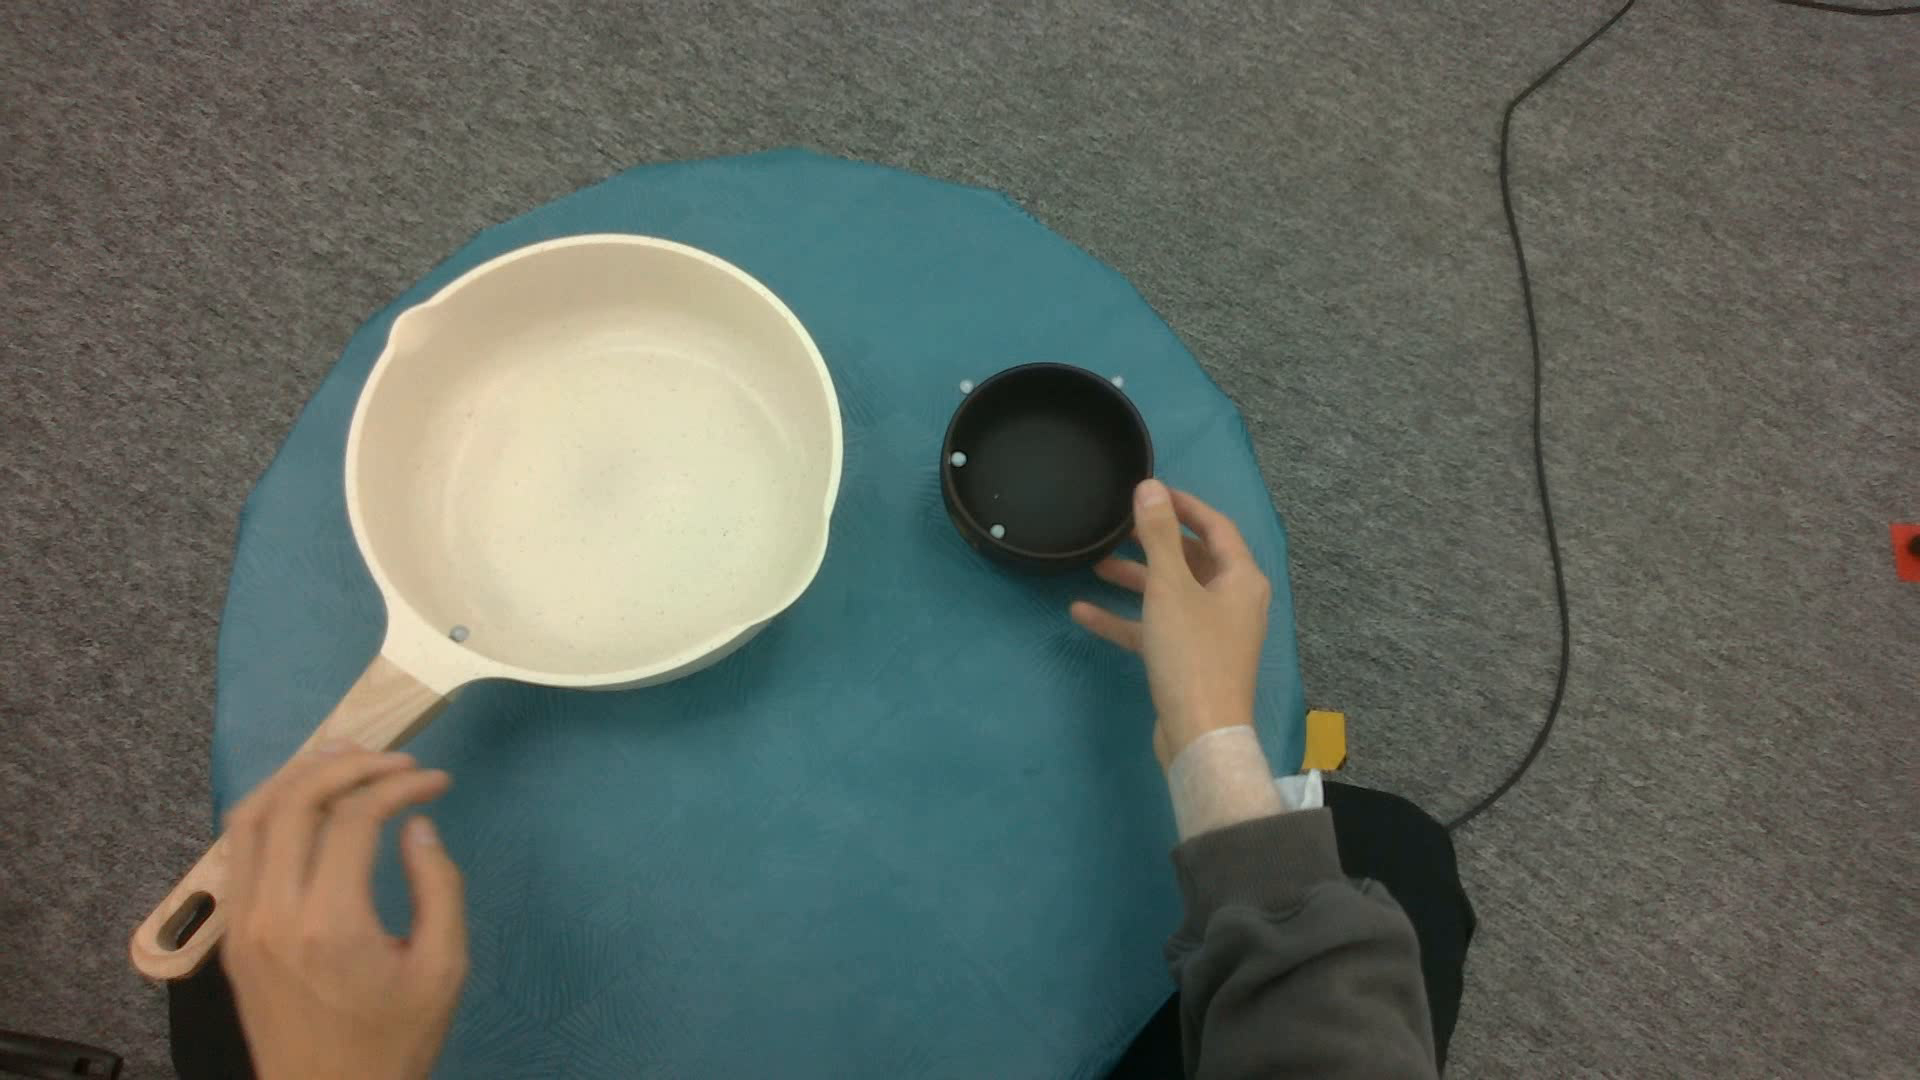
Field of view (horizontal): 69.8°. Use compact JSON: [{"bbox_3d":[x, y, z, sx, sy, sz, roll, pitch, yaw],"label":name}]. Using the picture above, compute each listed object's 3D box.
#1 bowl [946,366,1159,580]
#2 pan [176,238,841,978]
[{"bbox_3d":[0.050,-0.033,0.782,0.118,0.069,0.118,1,73,-3],"label":"bowl"},{"bbox_3d":[-0.240,0.035,0.734,0.263,0.101,0.436,32,74,7],"label":"pan"}]
